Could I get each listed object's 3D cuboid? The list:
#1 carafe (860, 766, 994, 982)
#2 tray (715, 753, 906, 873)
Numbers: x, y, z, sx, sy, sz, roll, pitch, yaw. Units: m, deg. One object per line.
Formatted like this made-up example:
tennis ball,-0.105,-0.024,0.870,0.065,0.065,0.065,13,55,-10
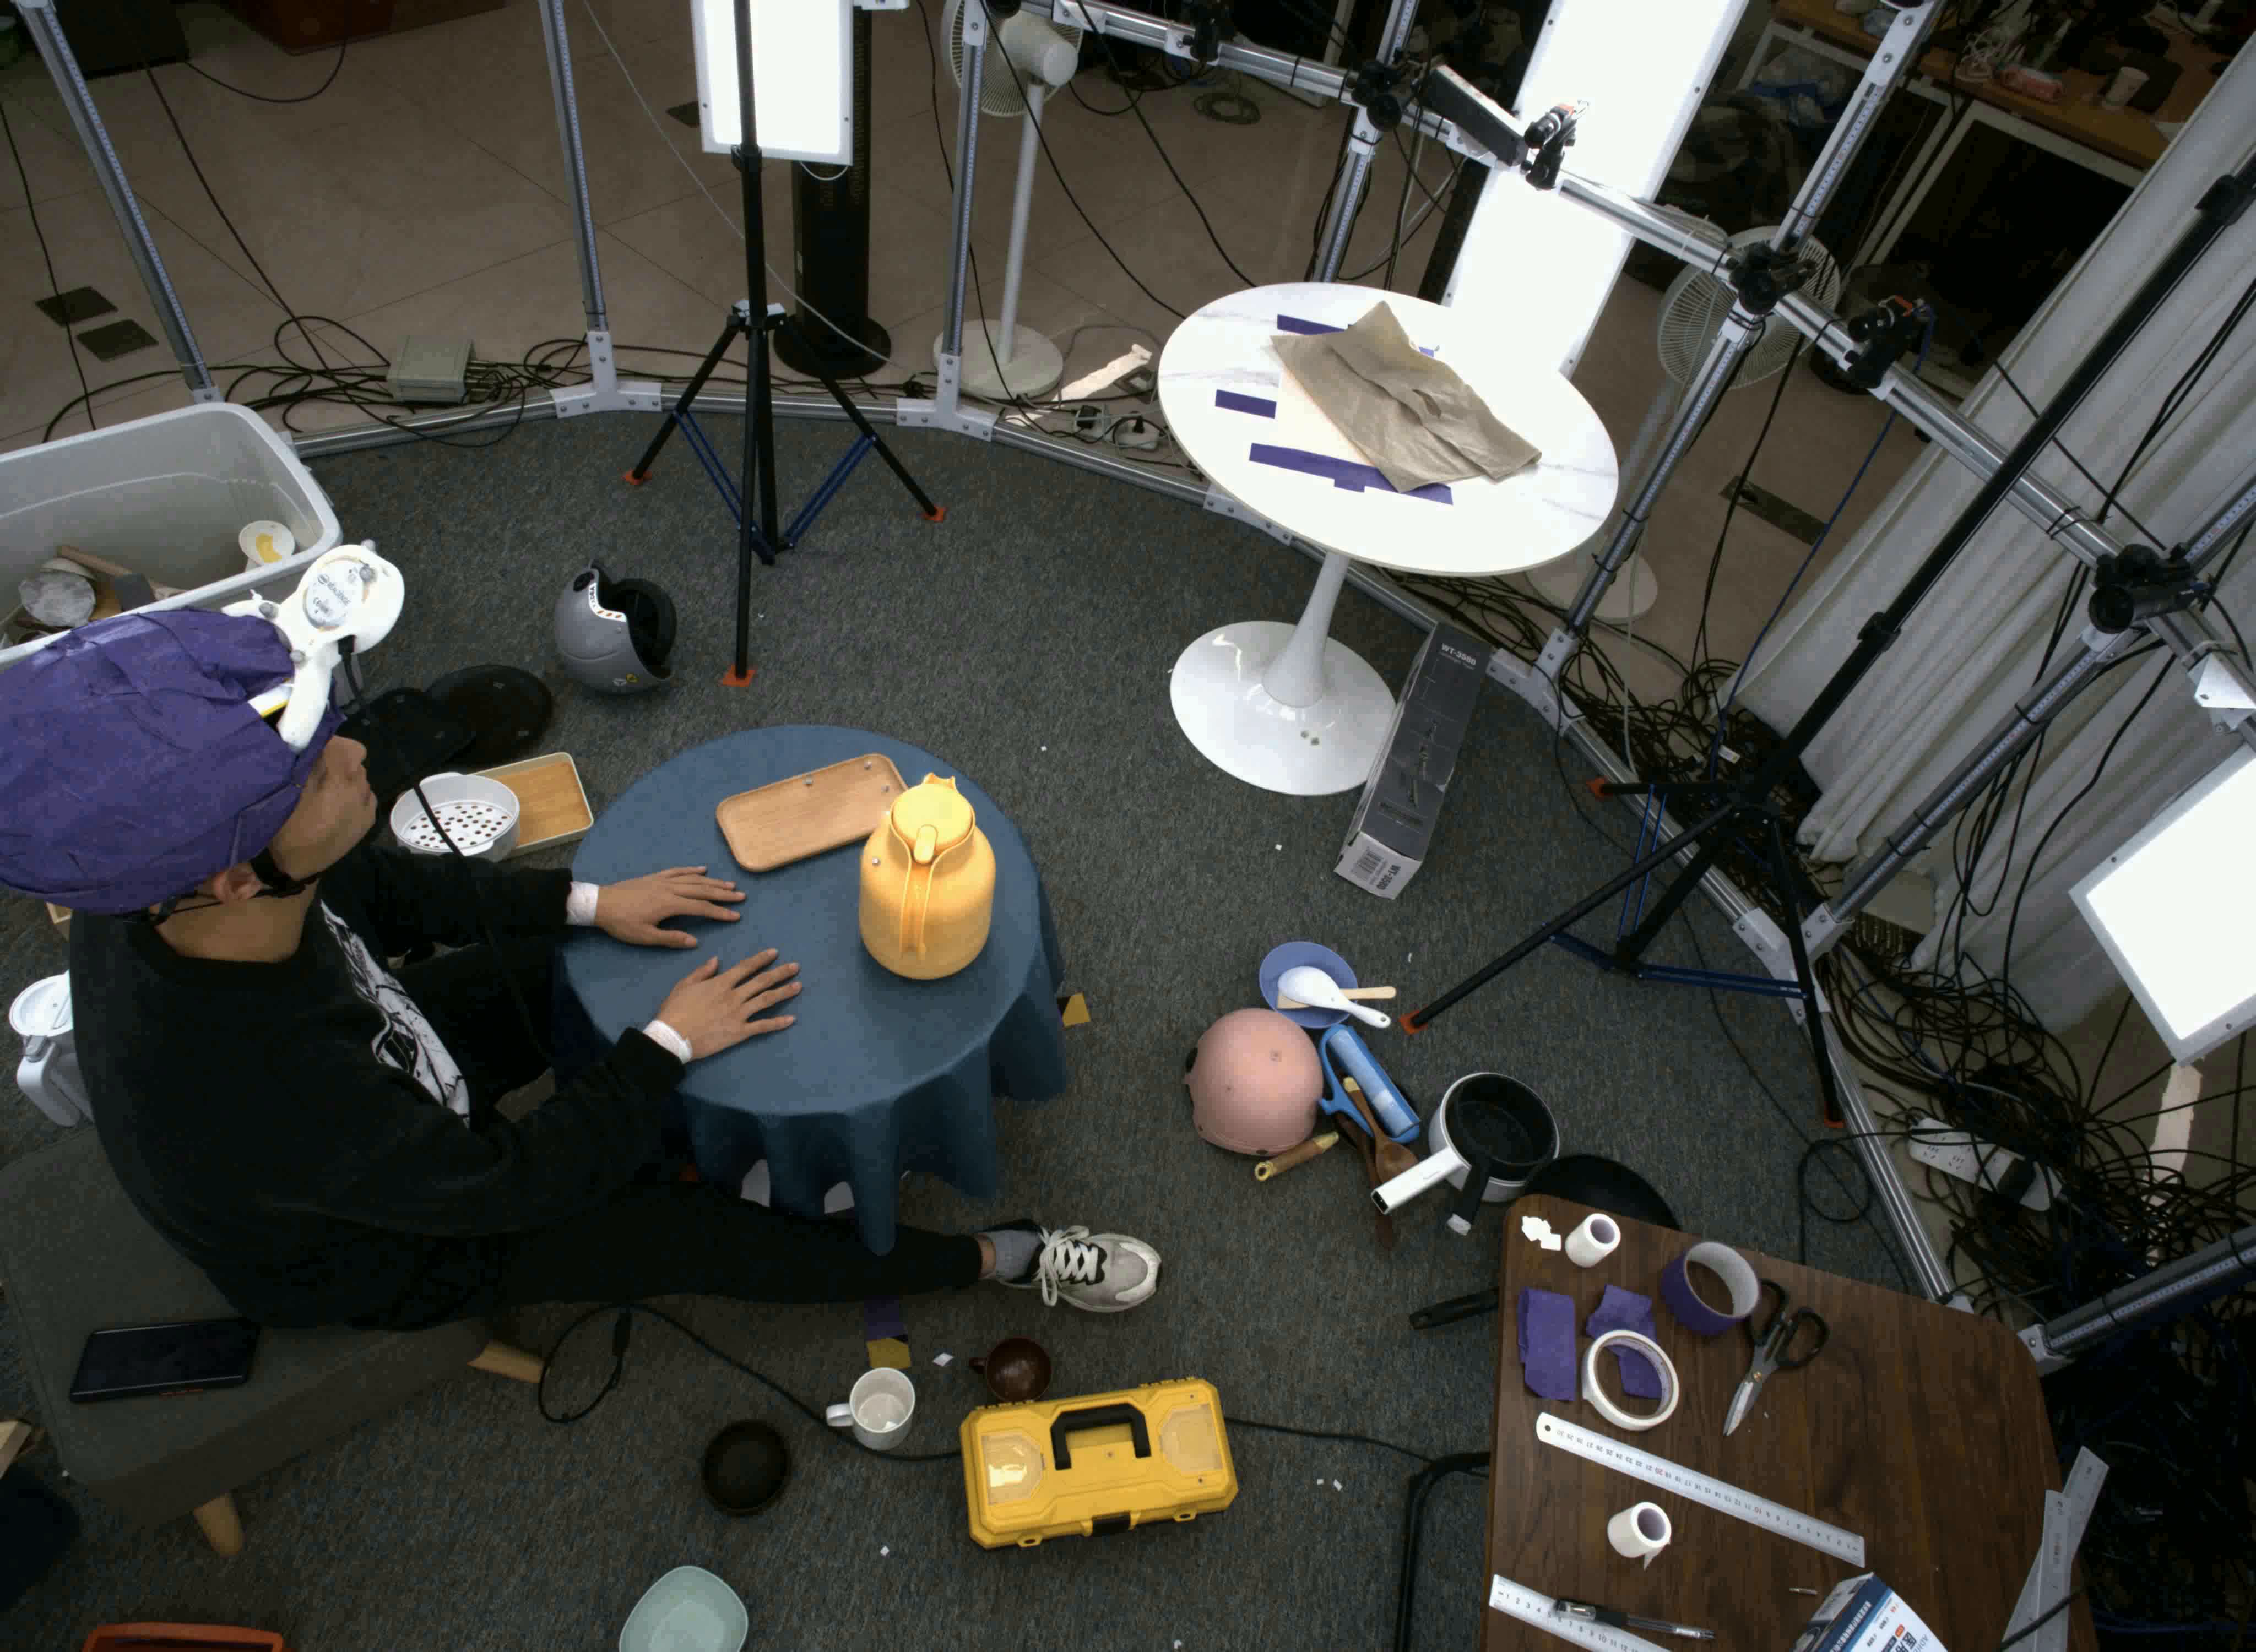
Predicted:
carafe,-0.244,0.071,1.544,0.162,0.267,0.199,10,49,-1
tray,-0.415,-0.020,1.727,0.252,0.023,0.127,-20,59,-26
